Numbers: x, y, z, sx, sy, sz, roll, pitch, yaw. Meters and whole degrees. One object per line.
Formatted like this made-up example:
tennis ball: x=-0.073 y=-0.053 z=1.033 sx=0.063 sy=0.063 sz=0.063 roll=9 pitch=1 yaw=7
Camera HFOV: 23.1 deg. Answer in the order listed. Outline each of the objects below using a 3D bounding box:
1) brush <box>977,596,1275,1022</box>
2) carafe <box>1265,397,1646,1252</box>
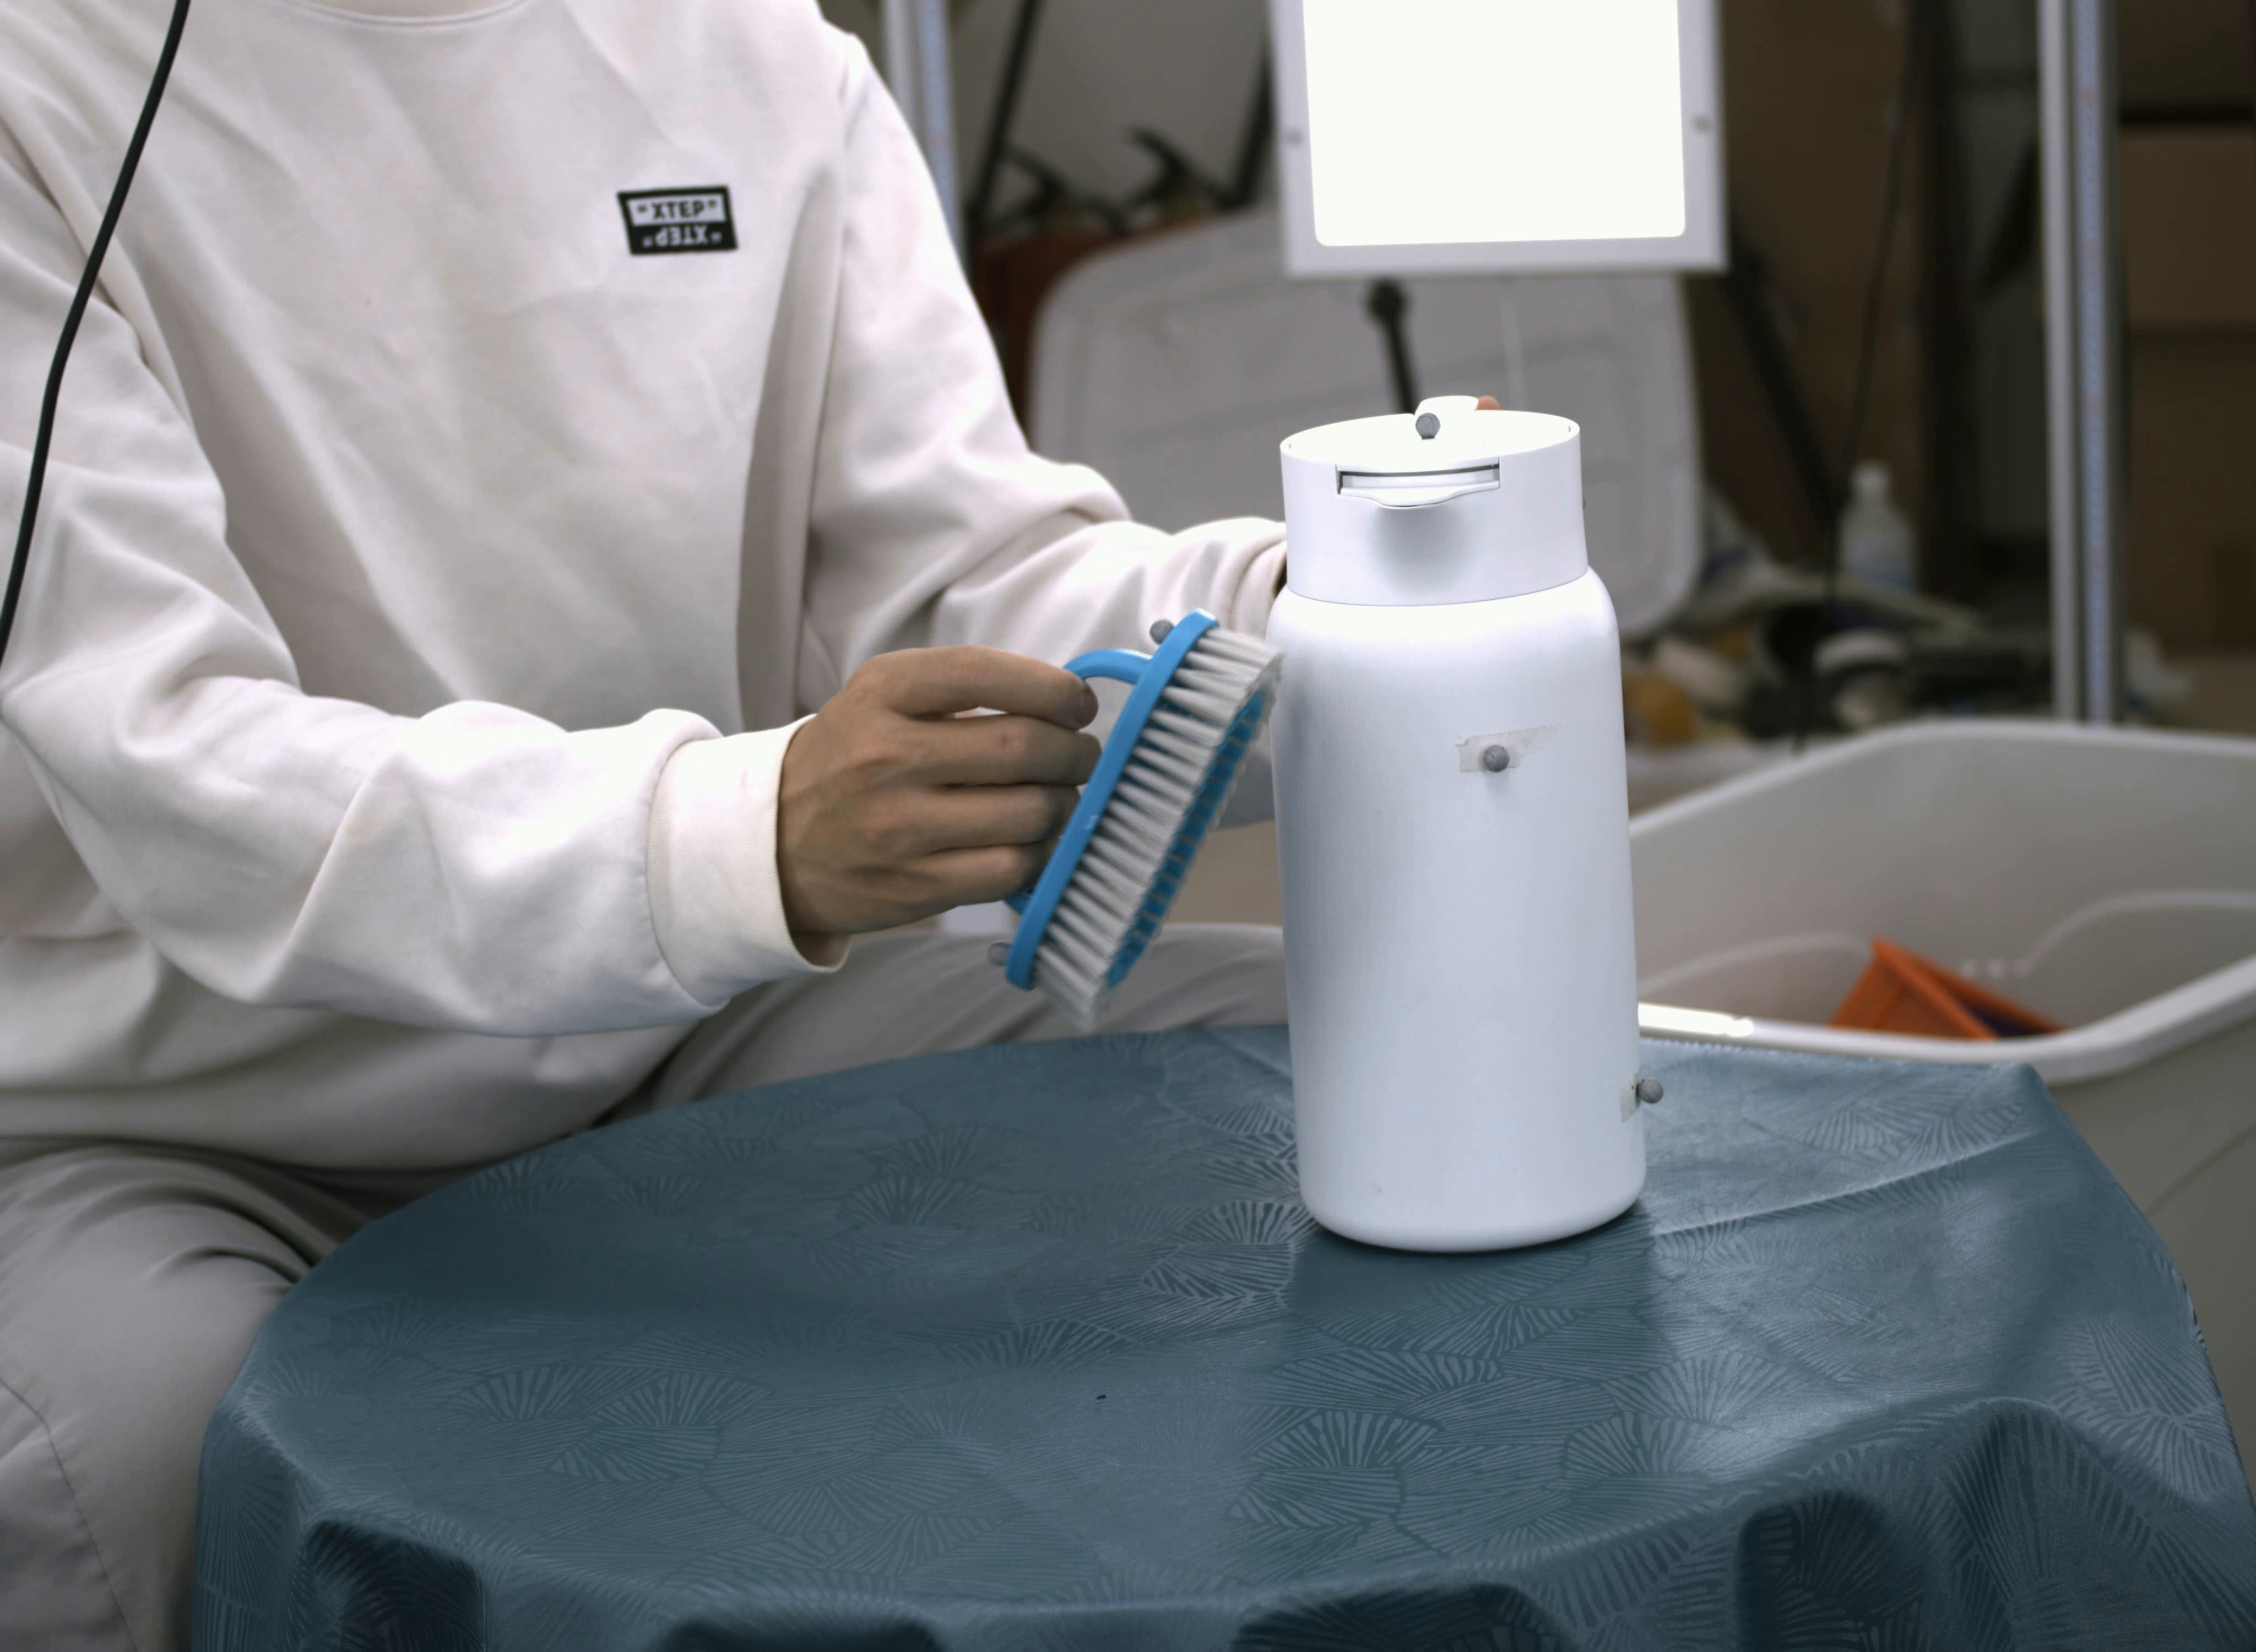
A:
brush: x=-0.008 y=-0.011 z=1.770 sx=0.064 sy=0.143 sz=0.083 roll=26 pitch=17 yaw=4
carafe: x=0.109 y=-0.005 z=1.835 sx=0.124 sy=0.270 sz=0.171 roll=-4 pitch=13 yaw=10
